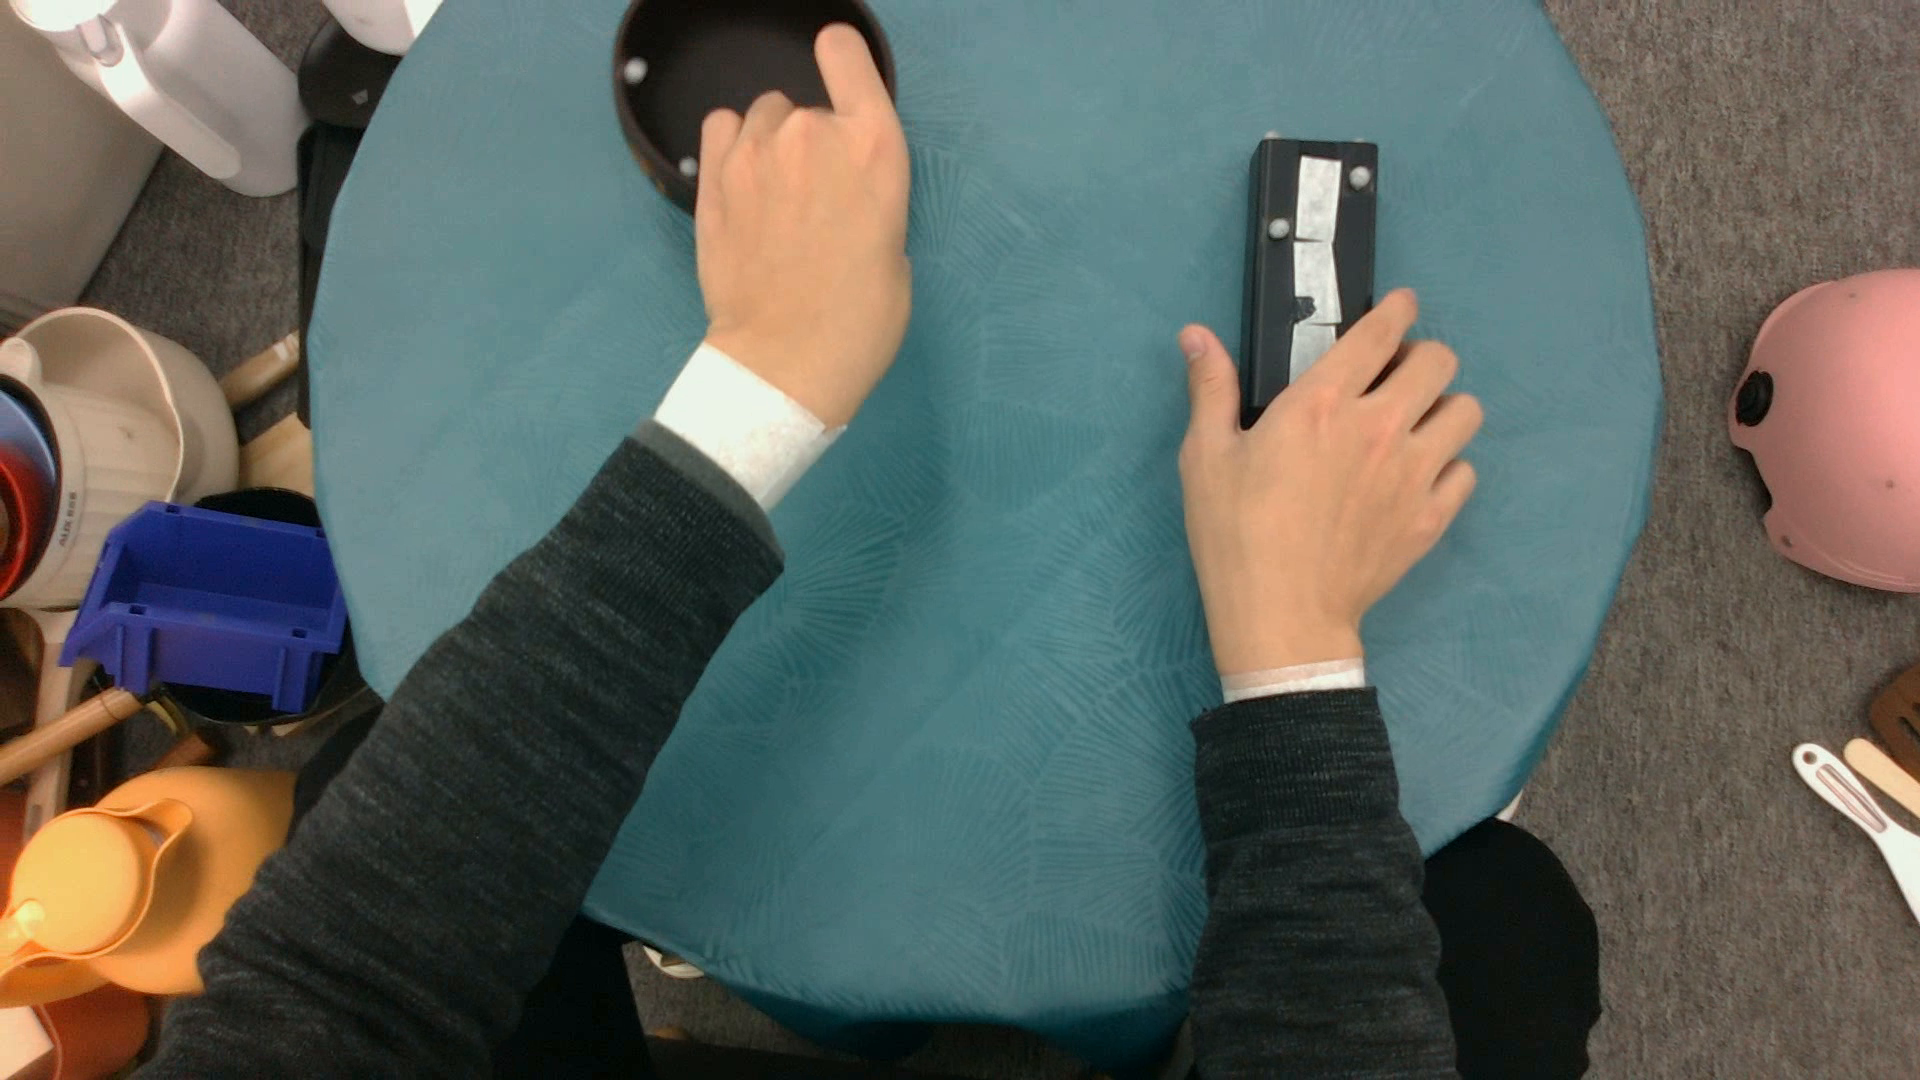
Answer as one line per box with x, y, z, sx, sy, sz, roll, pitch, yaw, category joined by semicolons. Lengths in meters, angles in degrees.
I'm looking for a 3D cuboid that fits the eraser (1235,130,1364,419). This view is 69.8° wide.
0.147;-0.115;0.597;0.053;0.030;0.126;2;79;6;eraser

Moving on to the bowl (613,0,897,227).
-0.090;-0.191;0.598;0.118;0.069;0.118;2;83;-13;bowl
